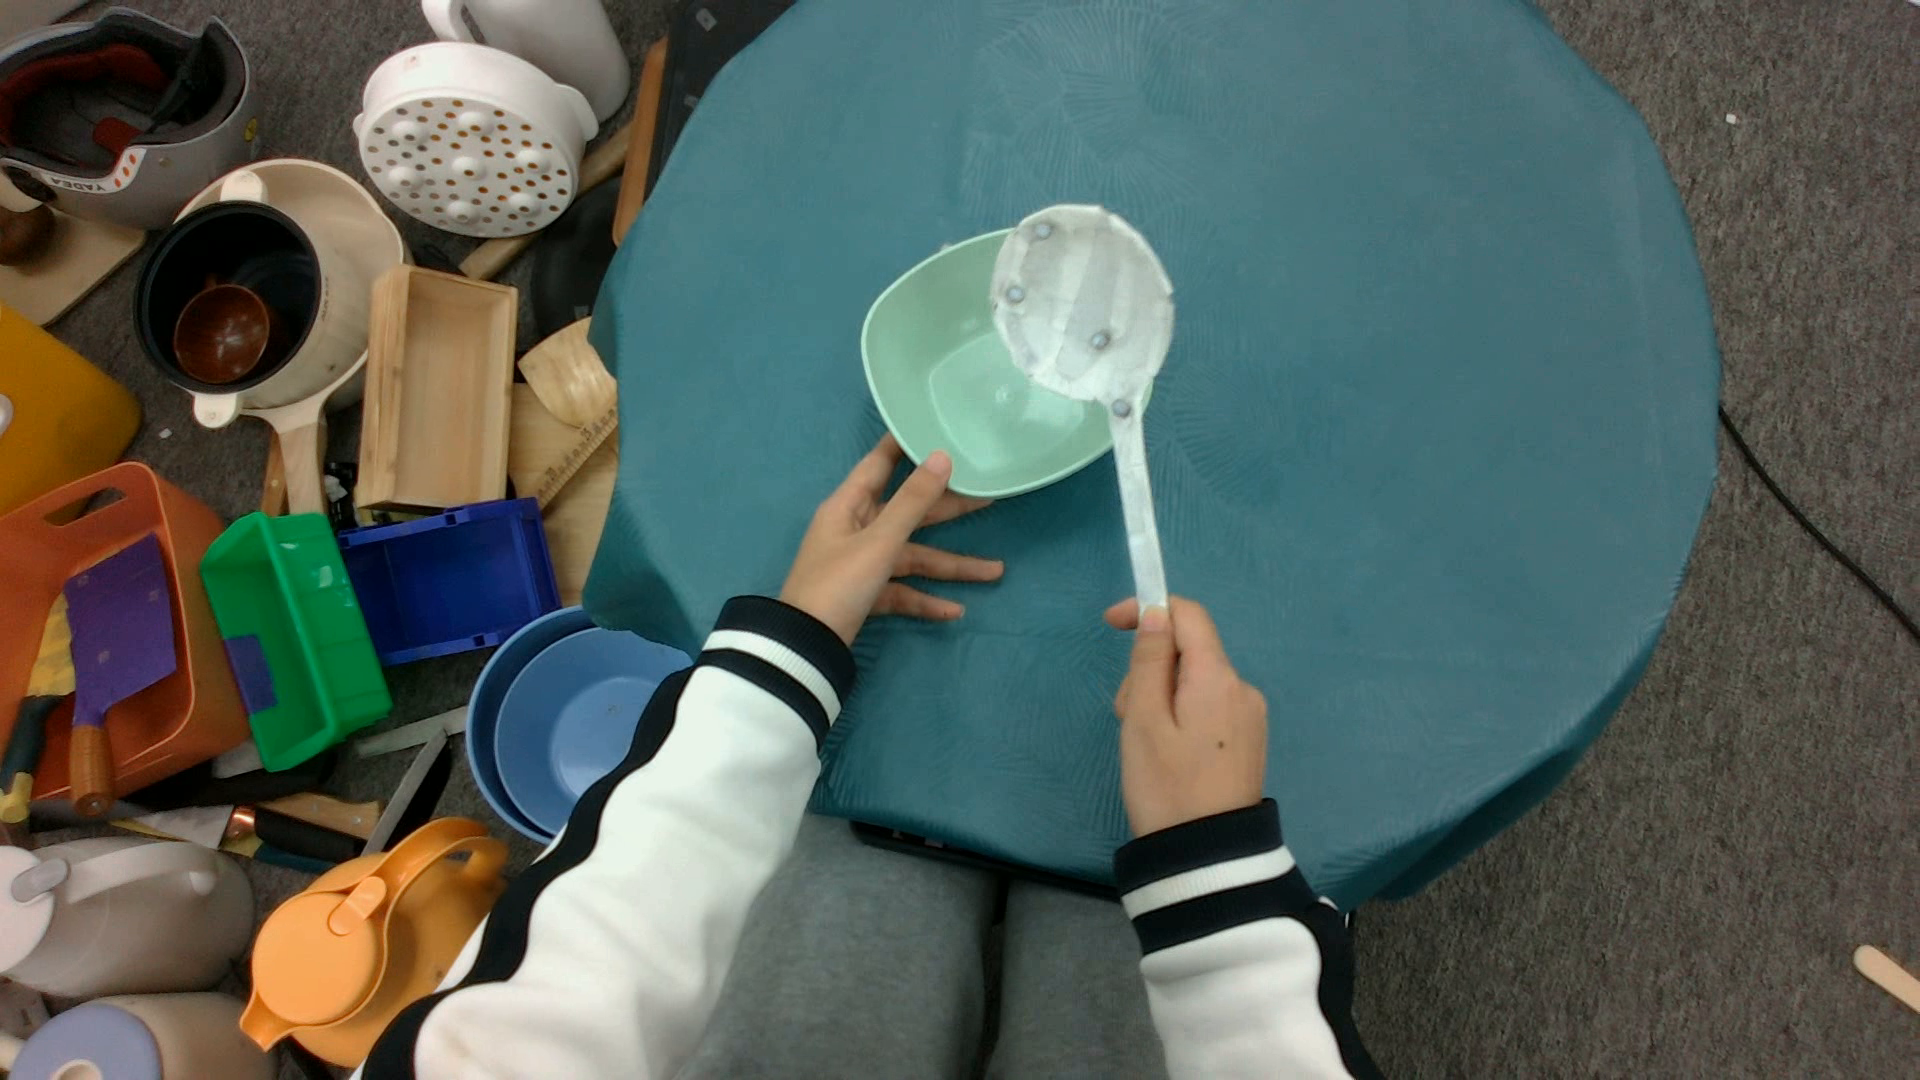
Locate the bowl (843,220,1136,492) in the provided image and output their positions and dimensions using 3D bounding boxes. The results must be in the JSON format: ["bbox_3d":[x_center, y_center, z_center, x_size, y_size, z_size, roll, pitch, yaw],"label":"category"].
[{"bbox_3d":[0.015,-0.088,0.723,0.151,0.058,0.152,0,73,2],"label":"bowl"}]

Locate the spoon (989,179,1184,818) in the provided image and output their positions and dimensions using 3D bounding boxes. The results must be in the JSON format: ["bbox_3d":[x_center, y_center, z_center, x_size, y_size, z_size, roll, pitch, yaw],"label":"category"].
[{"bbox_3d":[0.058,-0.019,0.604,0.100,0.059,0.278,-13,73,43],"label":"spoon"}]
